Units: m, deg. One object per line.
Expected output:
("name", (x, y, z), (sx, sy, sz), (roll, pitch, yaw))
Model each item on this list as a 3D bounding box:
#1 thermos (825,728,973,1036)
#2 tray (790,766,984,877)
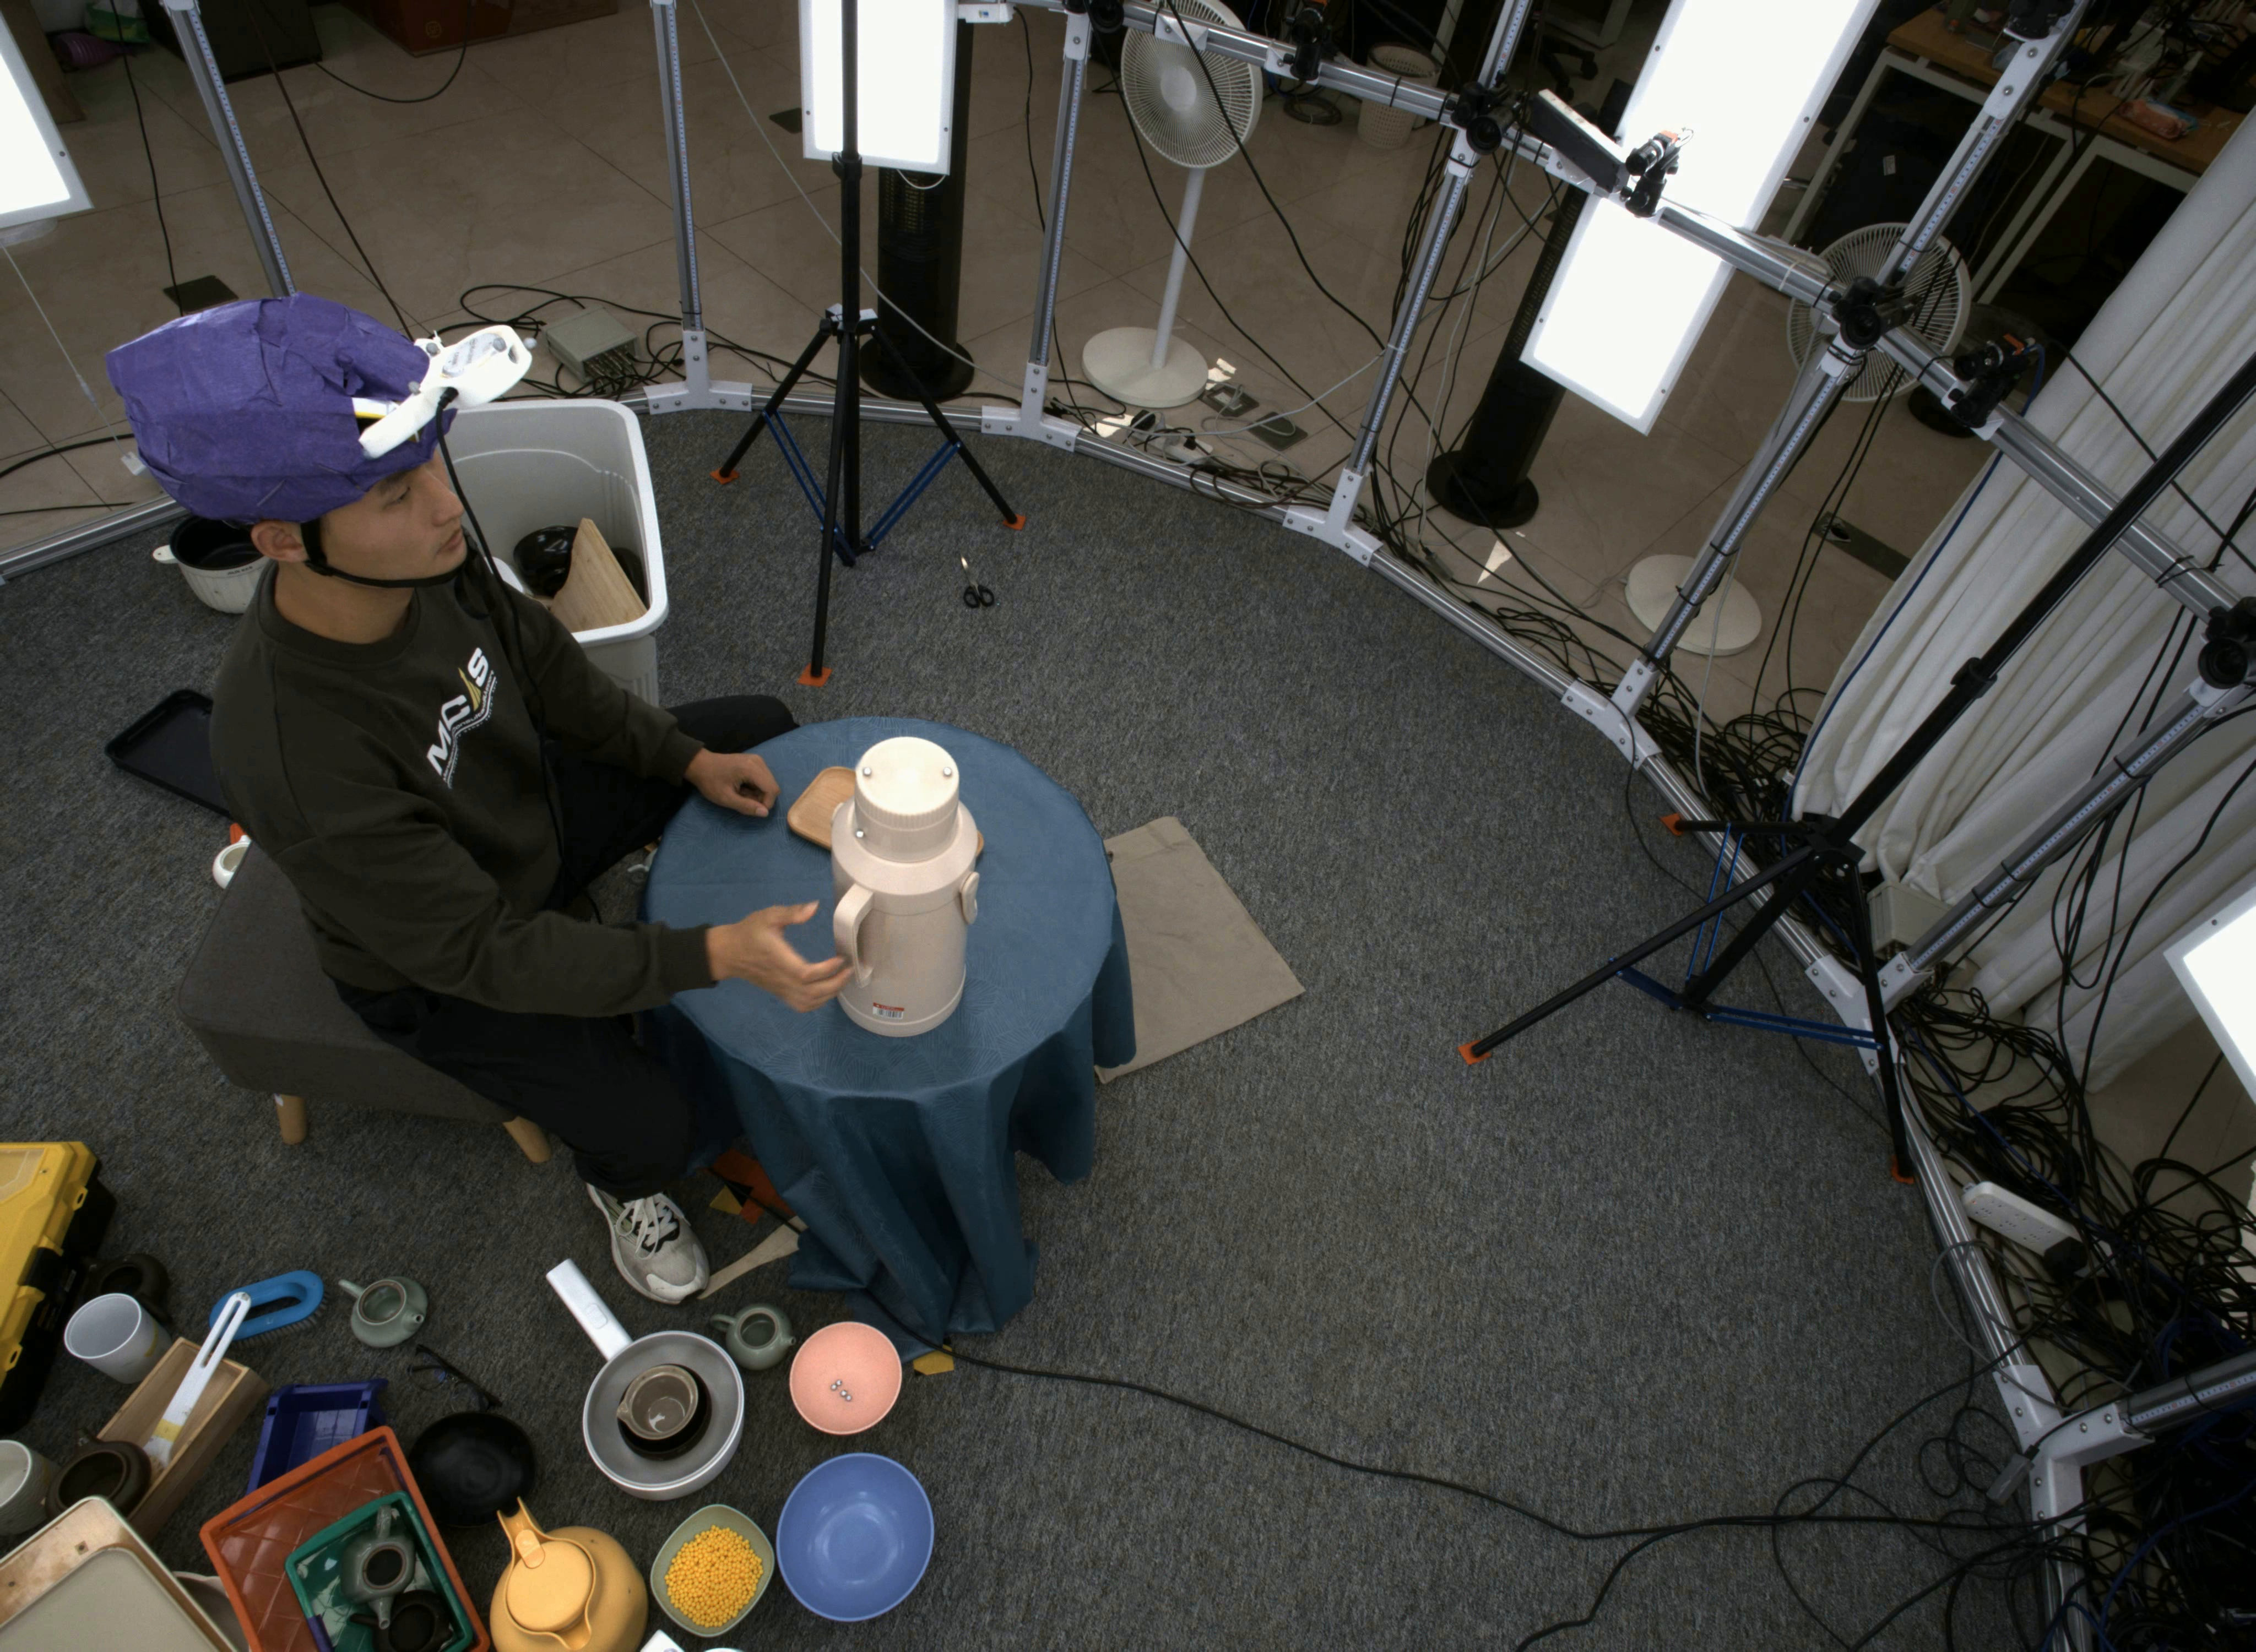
("thermos", (-0.266, 0.075, 1.460), (0.172, 0.415, 0.206), (26, 52, 9))
("tray", (-0.323, 0.007, 1.744), (0.247, 0.023, 0.130), (25, 50, 7))
